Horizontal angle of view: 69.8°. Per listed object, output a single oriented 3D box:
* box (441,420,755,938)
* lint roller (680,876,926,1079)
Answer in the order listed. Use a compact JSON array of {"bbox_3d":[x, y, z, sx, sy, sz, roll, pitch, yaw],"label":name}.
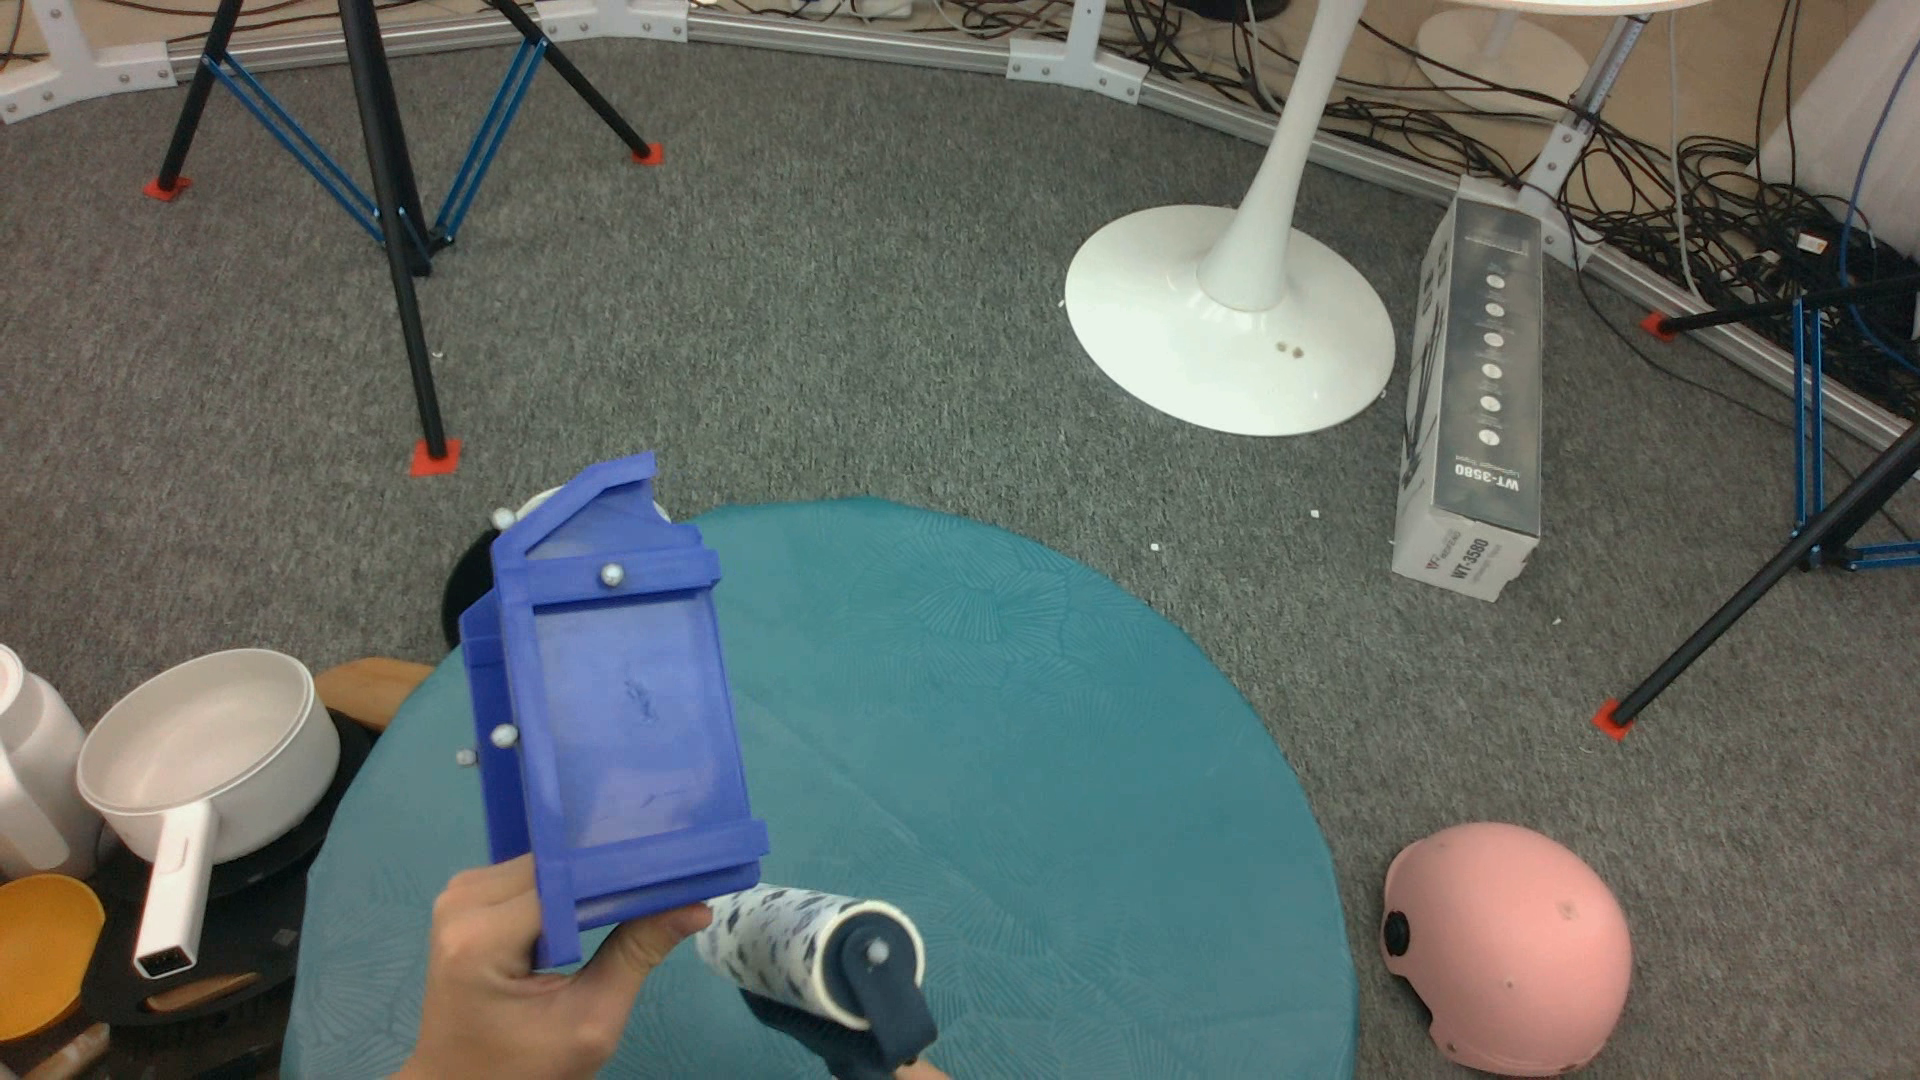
[{"bbox_3d":[-0.151,0.058,0.552,0.082,0.124,0.179,-8,78,-28],"label":"box"},{"bbox_3d":[-0.031,0.261,0.607,0.050,0.175,0.247,-31,97,-29],"label":"lint roller"}]
